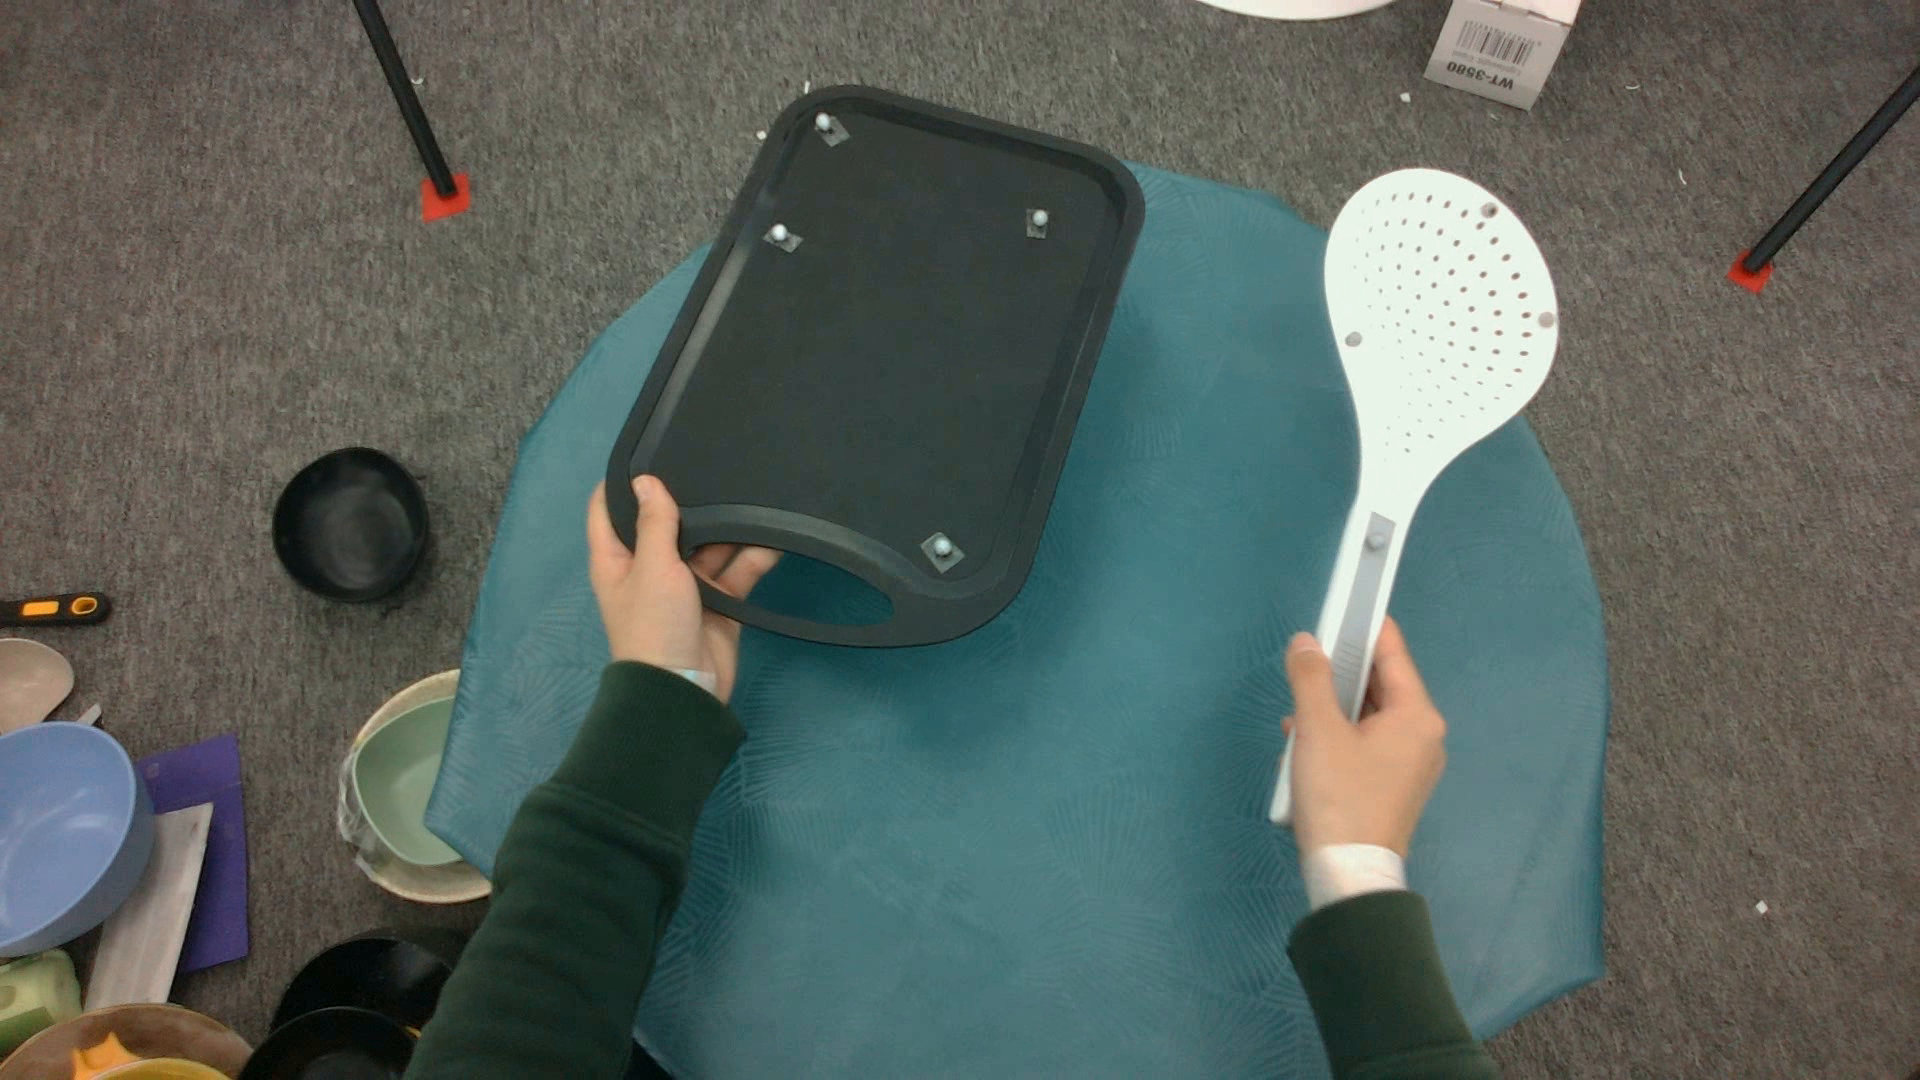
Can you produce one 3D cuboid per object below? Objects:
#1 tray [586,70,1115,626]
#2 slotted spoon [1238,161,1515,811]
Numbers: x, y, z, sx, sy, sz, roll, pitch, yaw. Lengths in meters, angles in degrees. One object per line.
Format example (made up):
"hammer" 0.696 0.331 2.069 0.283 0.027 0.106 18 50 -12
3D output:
"tray" -0.049 -0.108 0.696 0.211 0.010 0.327 15 64 5
"slotted spoon" 0.193 -0.036 0.679 0.136 0.045 0.351 23 65 -11
